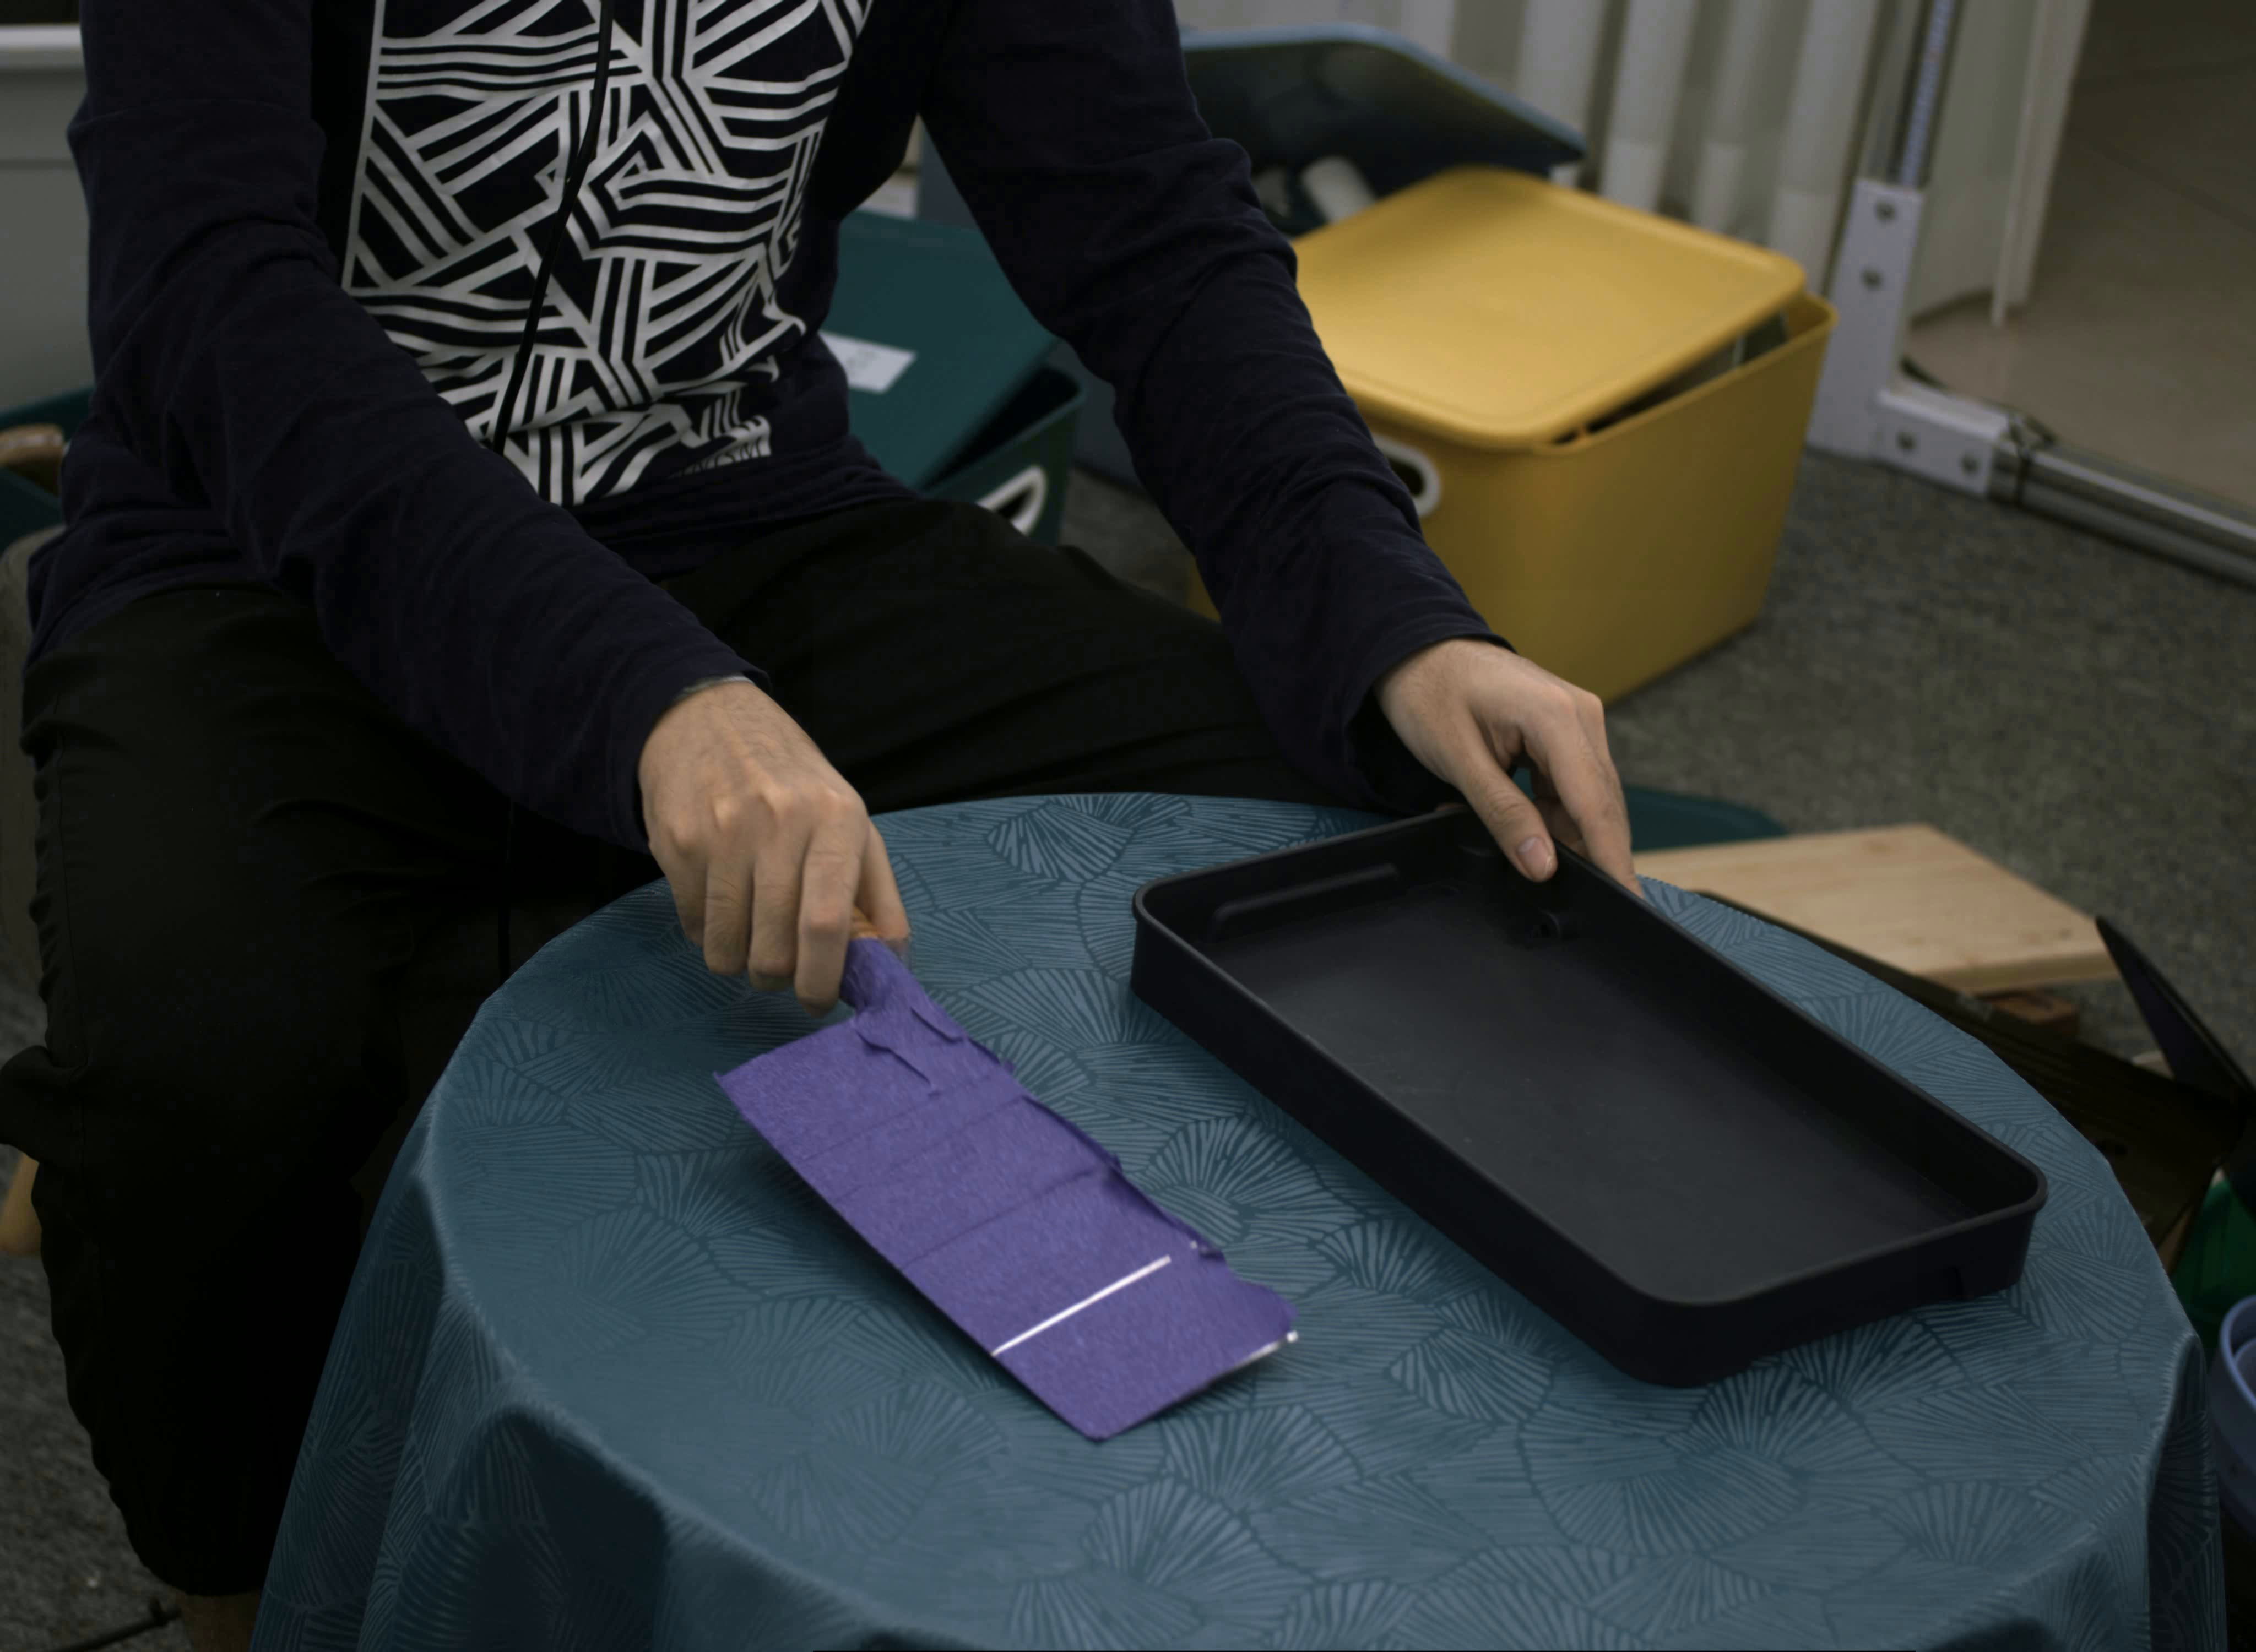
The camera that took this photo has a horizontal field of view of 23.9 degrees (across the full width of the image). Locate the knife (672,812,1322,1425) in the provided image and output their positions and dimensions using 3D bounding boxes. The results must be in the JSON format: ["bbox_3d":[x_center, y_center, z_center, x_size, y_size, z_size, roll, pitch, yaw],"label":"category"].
[{"bbox_3d":[-0.074,0.093,1.777,0.103,0.032,0.318,-24,44,-32],"label":"knife"}]

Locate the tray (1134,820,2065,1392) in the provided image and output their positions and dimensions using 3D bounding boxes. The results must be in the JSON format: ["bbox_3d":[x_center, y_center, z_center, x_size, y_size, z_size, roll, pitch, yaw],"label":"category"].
[{"bbox_3d":[0.159,0.092,1.868,0.183,0.037,0.321,-14,32,-34],"label":"tray"}]
